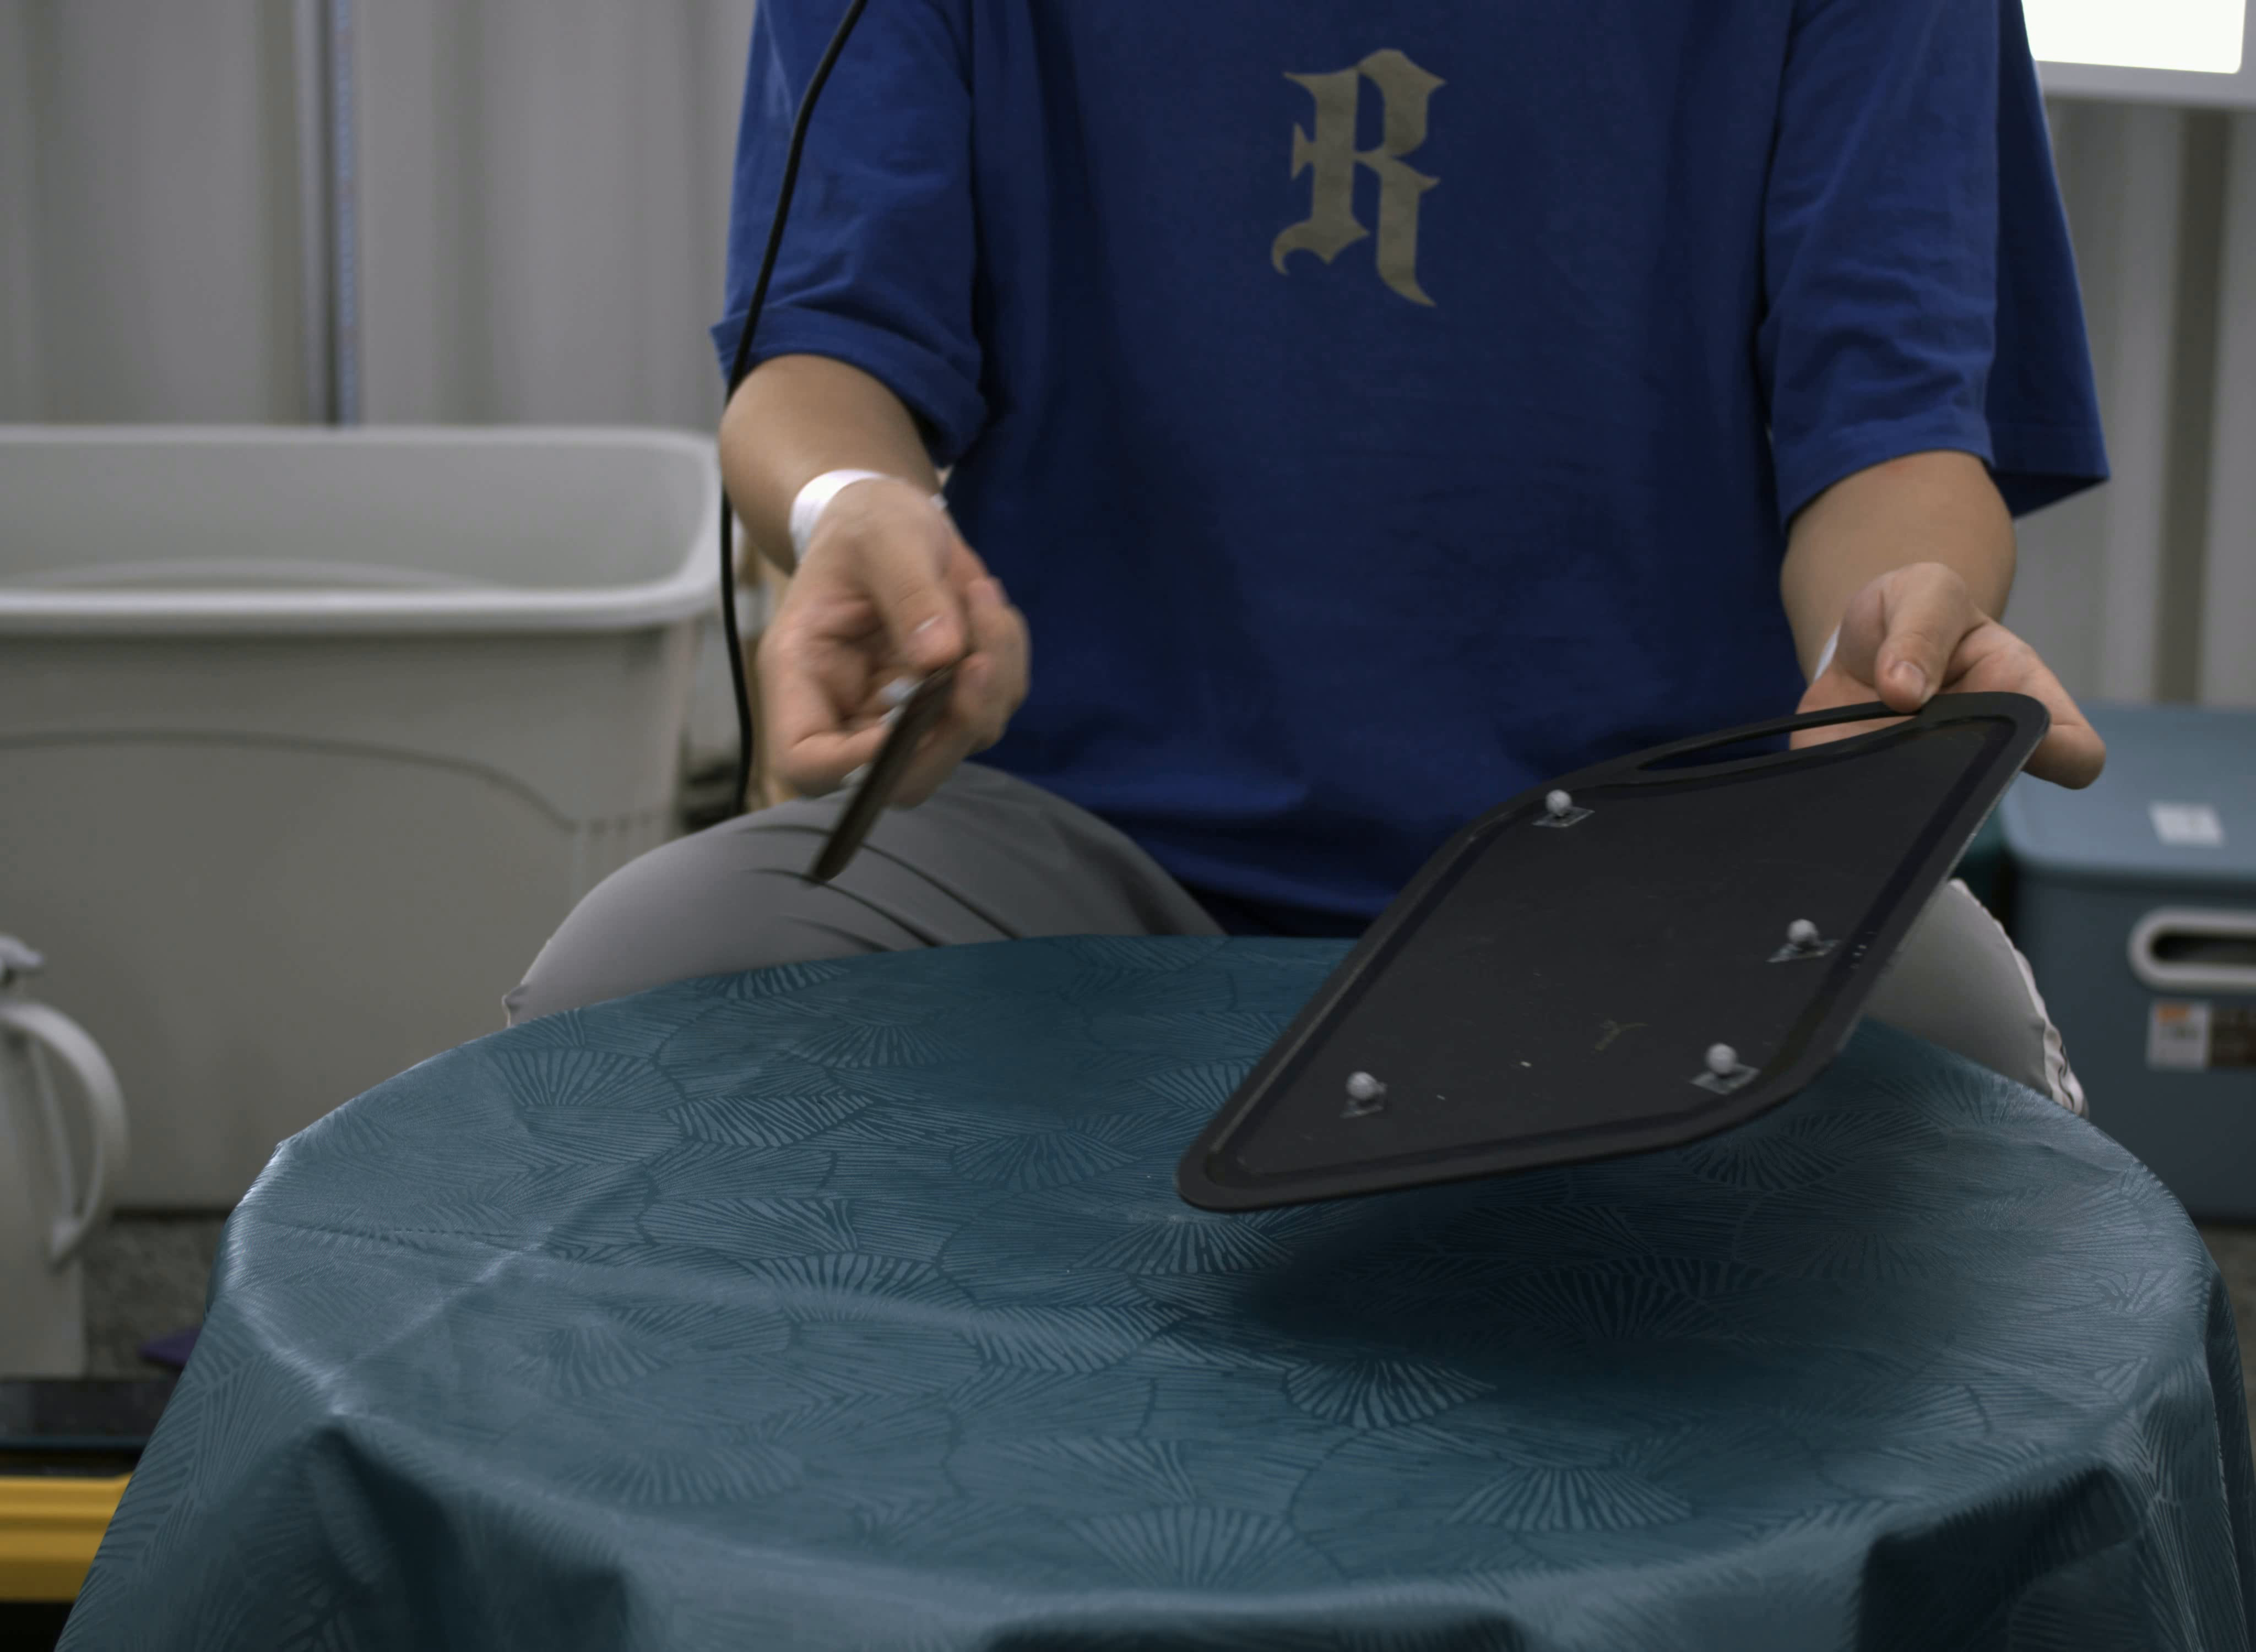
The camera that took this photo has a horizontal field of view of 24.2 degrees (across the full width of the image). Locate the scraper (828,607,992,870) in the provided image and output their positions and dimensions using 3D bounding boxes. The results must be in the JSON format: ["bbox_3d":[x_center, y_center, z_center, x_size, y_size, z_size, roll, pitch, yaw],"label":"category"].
[{"bbox_3d":[-0.062,-0.039,1.671,0.011,0.076,0.210,29,14,-2],"label":"scraper"}]

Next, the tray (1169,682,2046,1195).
[{"bbox_3d":[0.150,0.026,1.585,0.209,0.010,0.325,-11,19,31],"label":"tray"}]
